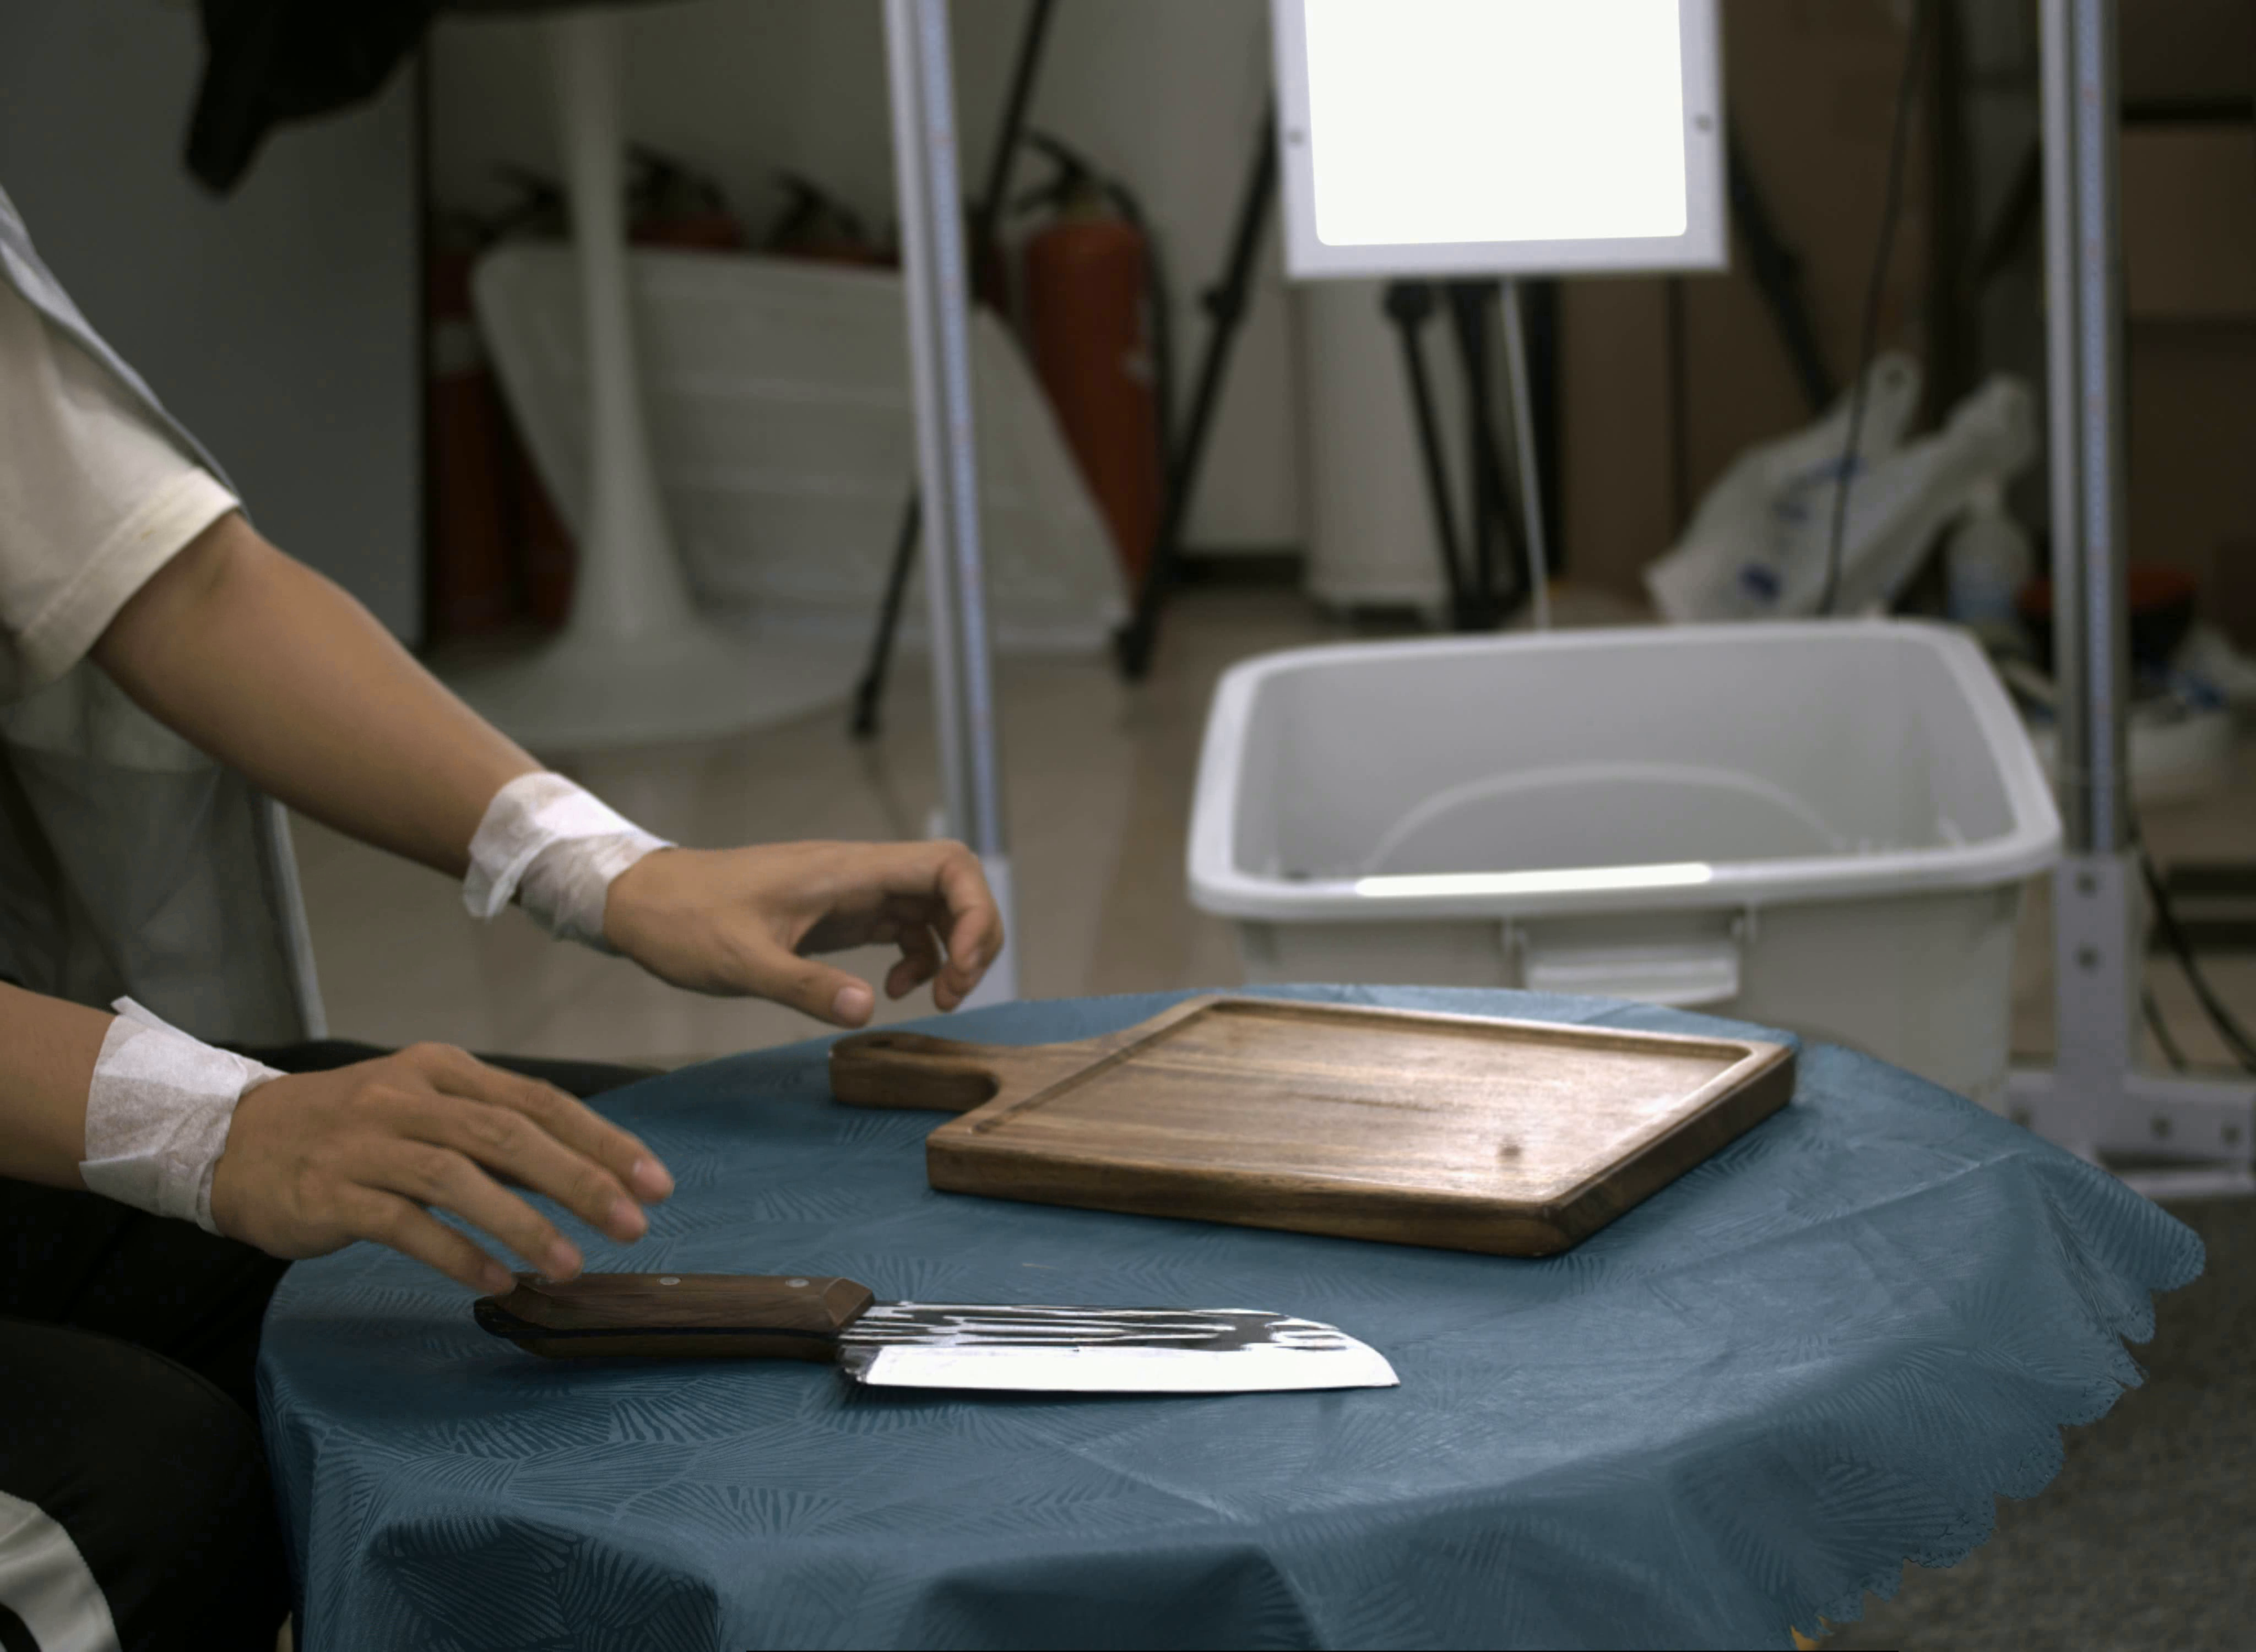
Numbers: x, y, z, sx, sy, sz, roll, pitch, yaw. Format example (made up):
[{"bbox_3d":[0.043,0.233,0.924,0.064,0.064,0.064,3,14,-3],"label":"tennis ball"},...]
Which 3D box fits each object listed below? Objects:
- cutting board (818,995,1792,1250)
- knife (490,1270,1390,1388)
[{"bbox_3d":[0.040,0.098,1.953,0.359,0.023,0.196,3,16,33],"label":"cutting board"},{"bbox_3d":[-0.063,0.162,1.734,0.302,0.024,0.067,1,17,13],"label":"knife"}]
